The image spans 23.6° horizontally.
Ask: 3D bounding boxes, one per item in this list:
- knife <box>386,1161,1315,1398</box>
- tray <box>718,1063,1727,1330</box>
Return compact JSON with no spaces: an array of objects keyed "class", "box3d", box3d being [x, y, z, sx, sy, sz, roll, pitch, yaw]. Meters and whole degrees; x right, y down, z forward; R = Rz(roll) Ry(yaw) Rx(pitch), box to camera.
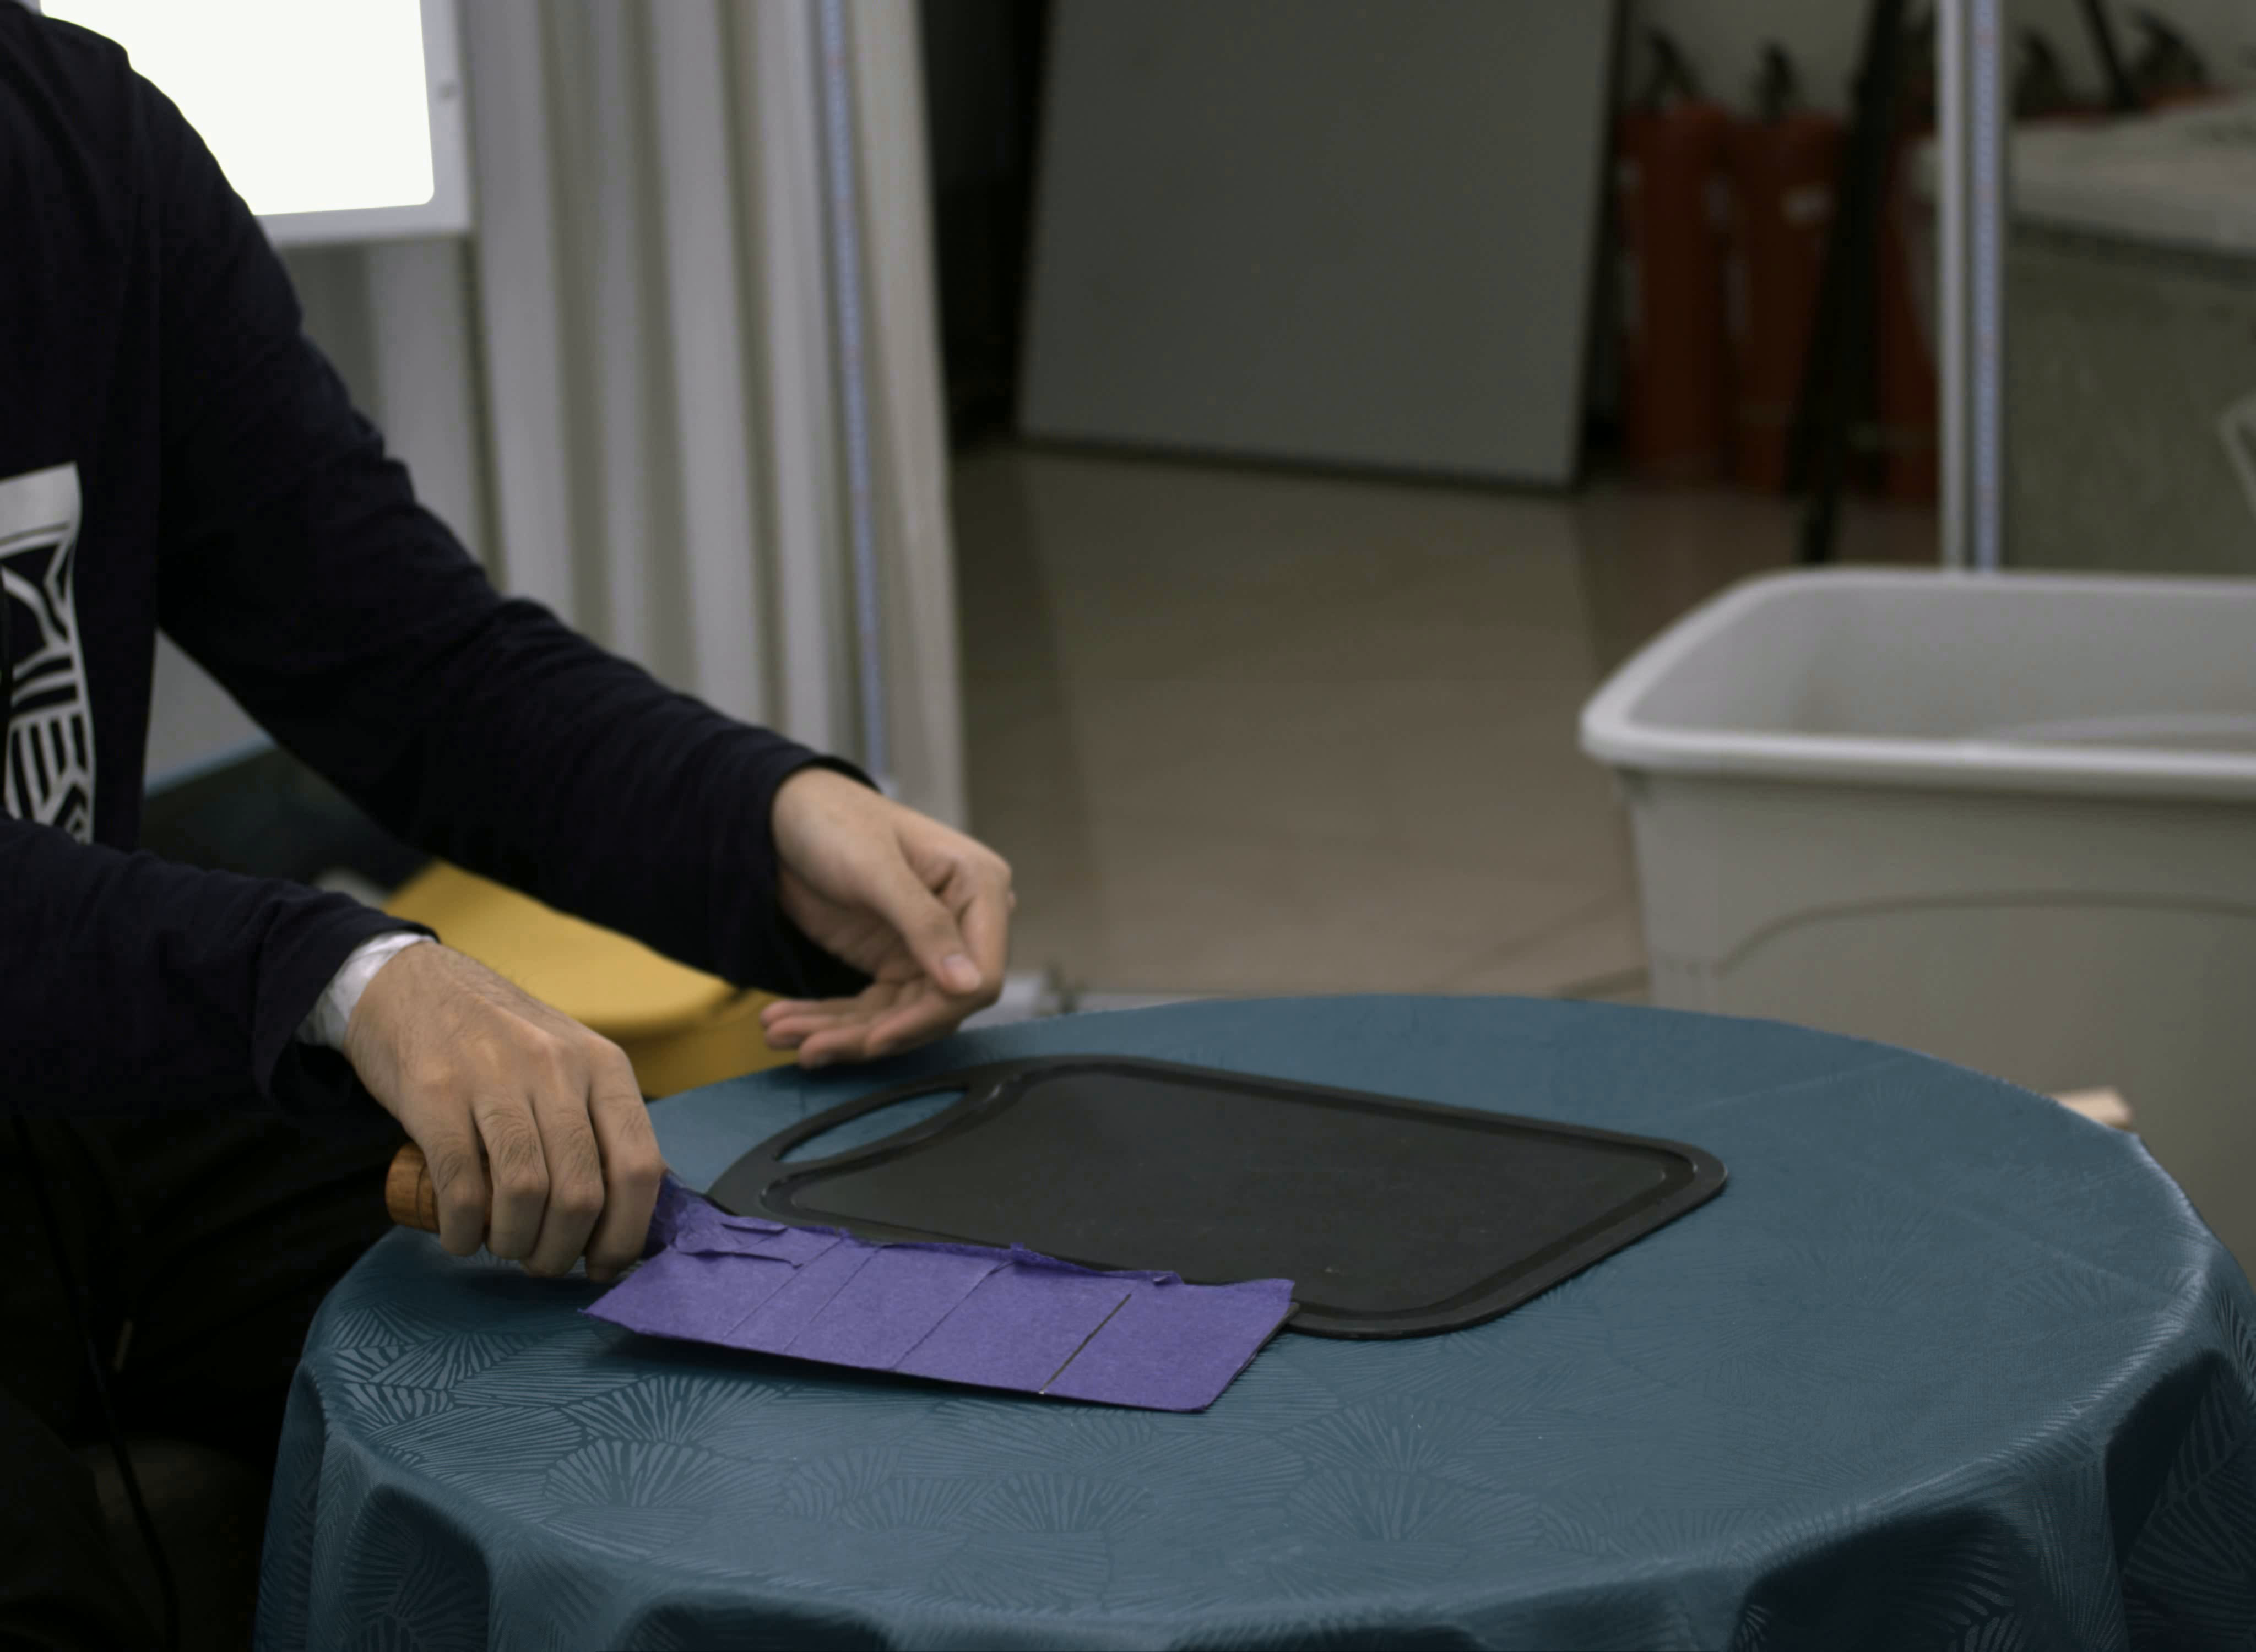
[{"class":"knife","box3d":[-0.102,0.139,1.662,0.315,0.032,0.102,3,17,24]},{"class":"tray","box3d":[0.022,0.117,1.772,0.328,0.010,0.207,6,17,38]}]
